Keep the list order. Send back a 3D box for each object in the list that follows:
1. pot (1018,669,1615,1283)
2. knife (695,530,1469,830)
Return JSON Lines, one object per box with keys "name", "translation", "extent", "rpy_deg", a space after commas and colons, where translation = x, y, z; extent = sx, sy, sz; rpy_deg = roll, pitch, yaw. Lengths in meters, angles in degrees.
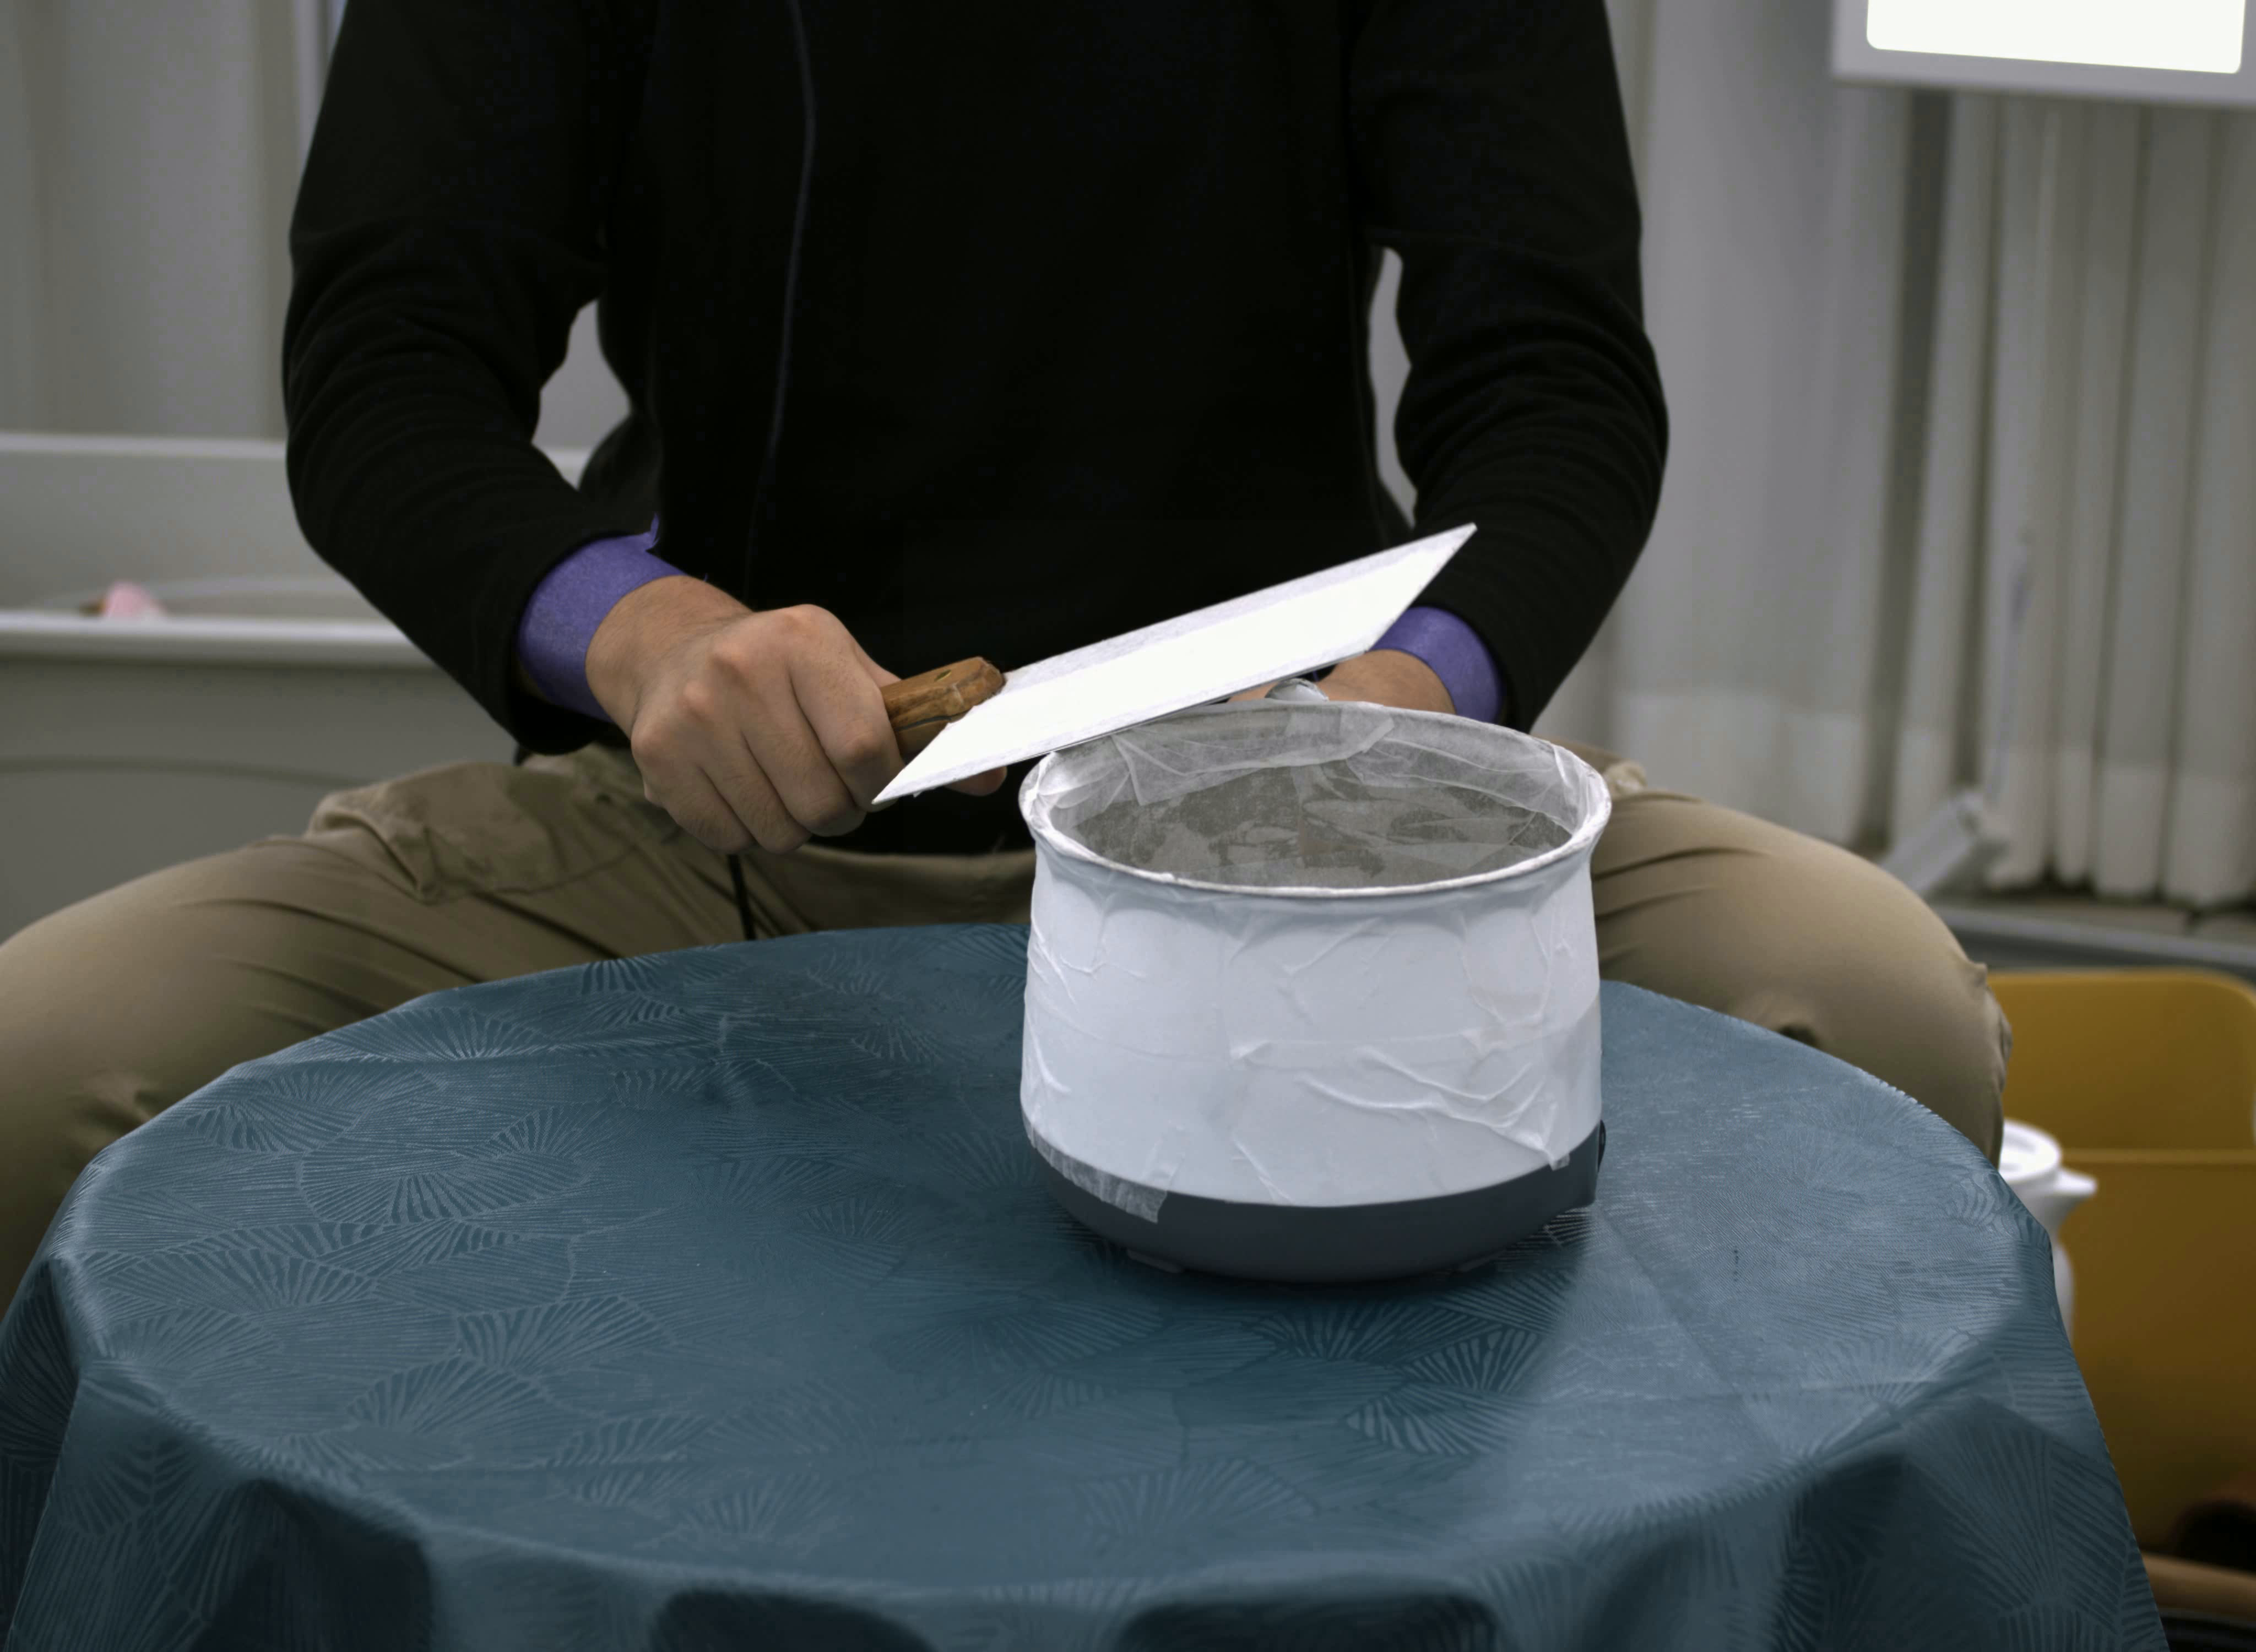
{"name": "pot", "translation": [0.054, 0.039, 1.607], "extent": [0.178, 0.138, 0.232], "rpy_deg": [0, 20, -4]}
{"name": "knife", "translation": [-0.030, -0.037, 1.656], "extent": [0.303, 0.021, 0.093], "rpy_deg": [-17, 17, 35]}
